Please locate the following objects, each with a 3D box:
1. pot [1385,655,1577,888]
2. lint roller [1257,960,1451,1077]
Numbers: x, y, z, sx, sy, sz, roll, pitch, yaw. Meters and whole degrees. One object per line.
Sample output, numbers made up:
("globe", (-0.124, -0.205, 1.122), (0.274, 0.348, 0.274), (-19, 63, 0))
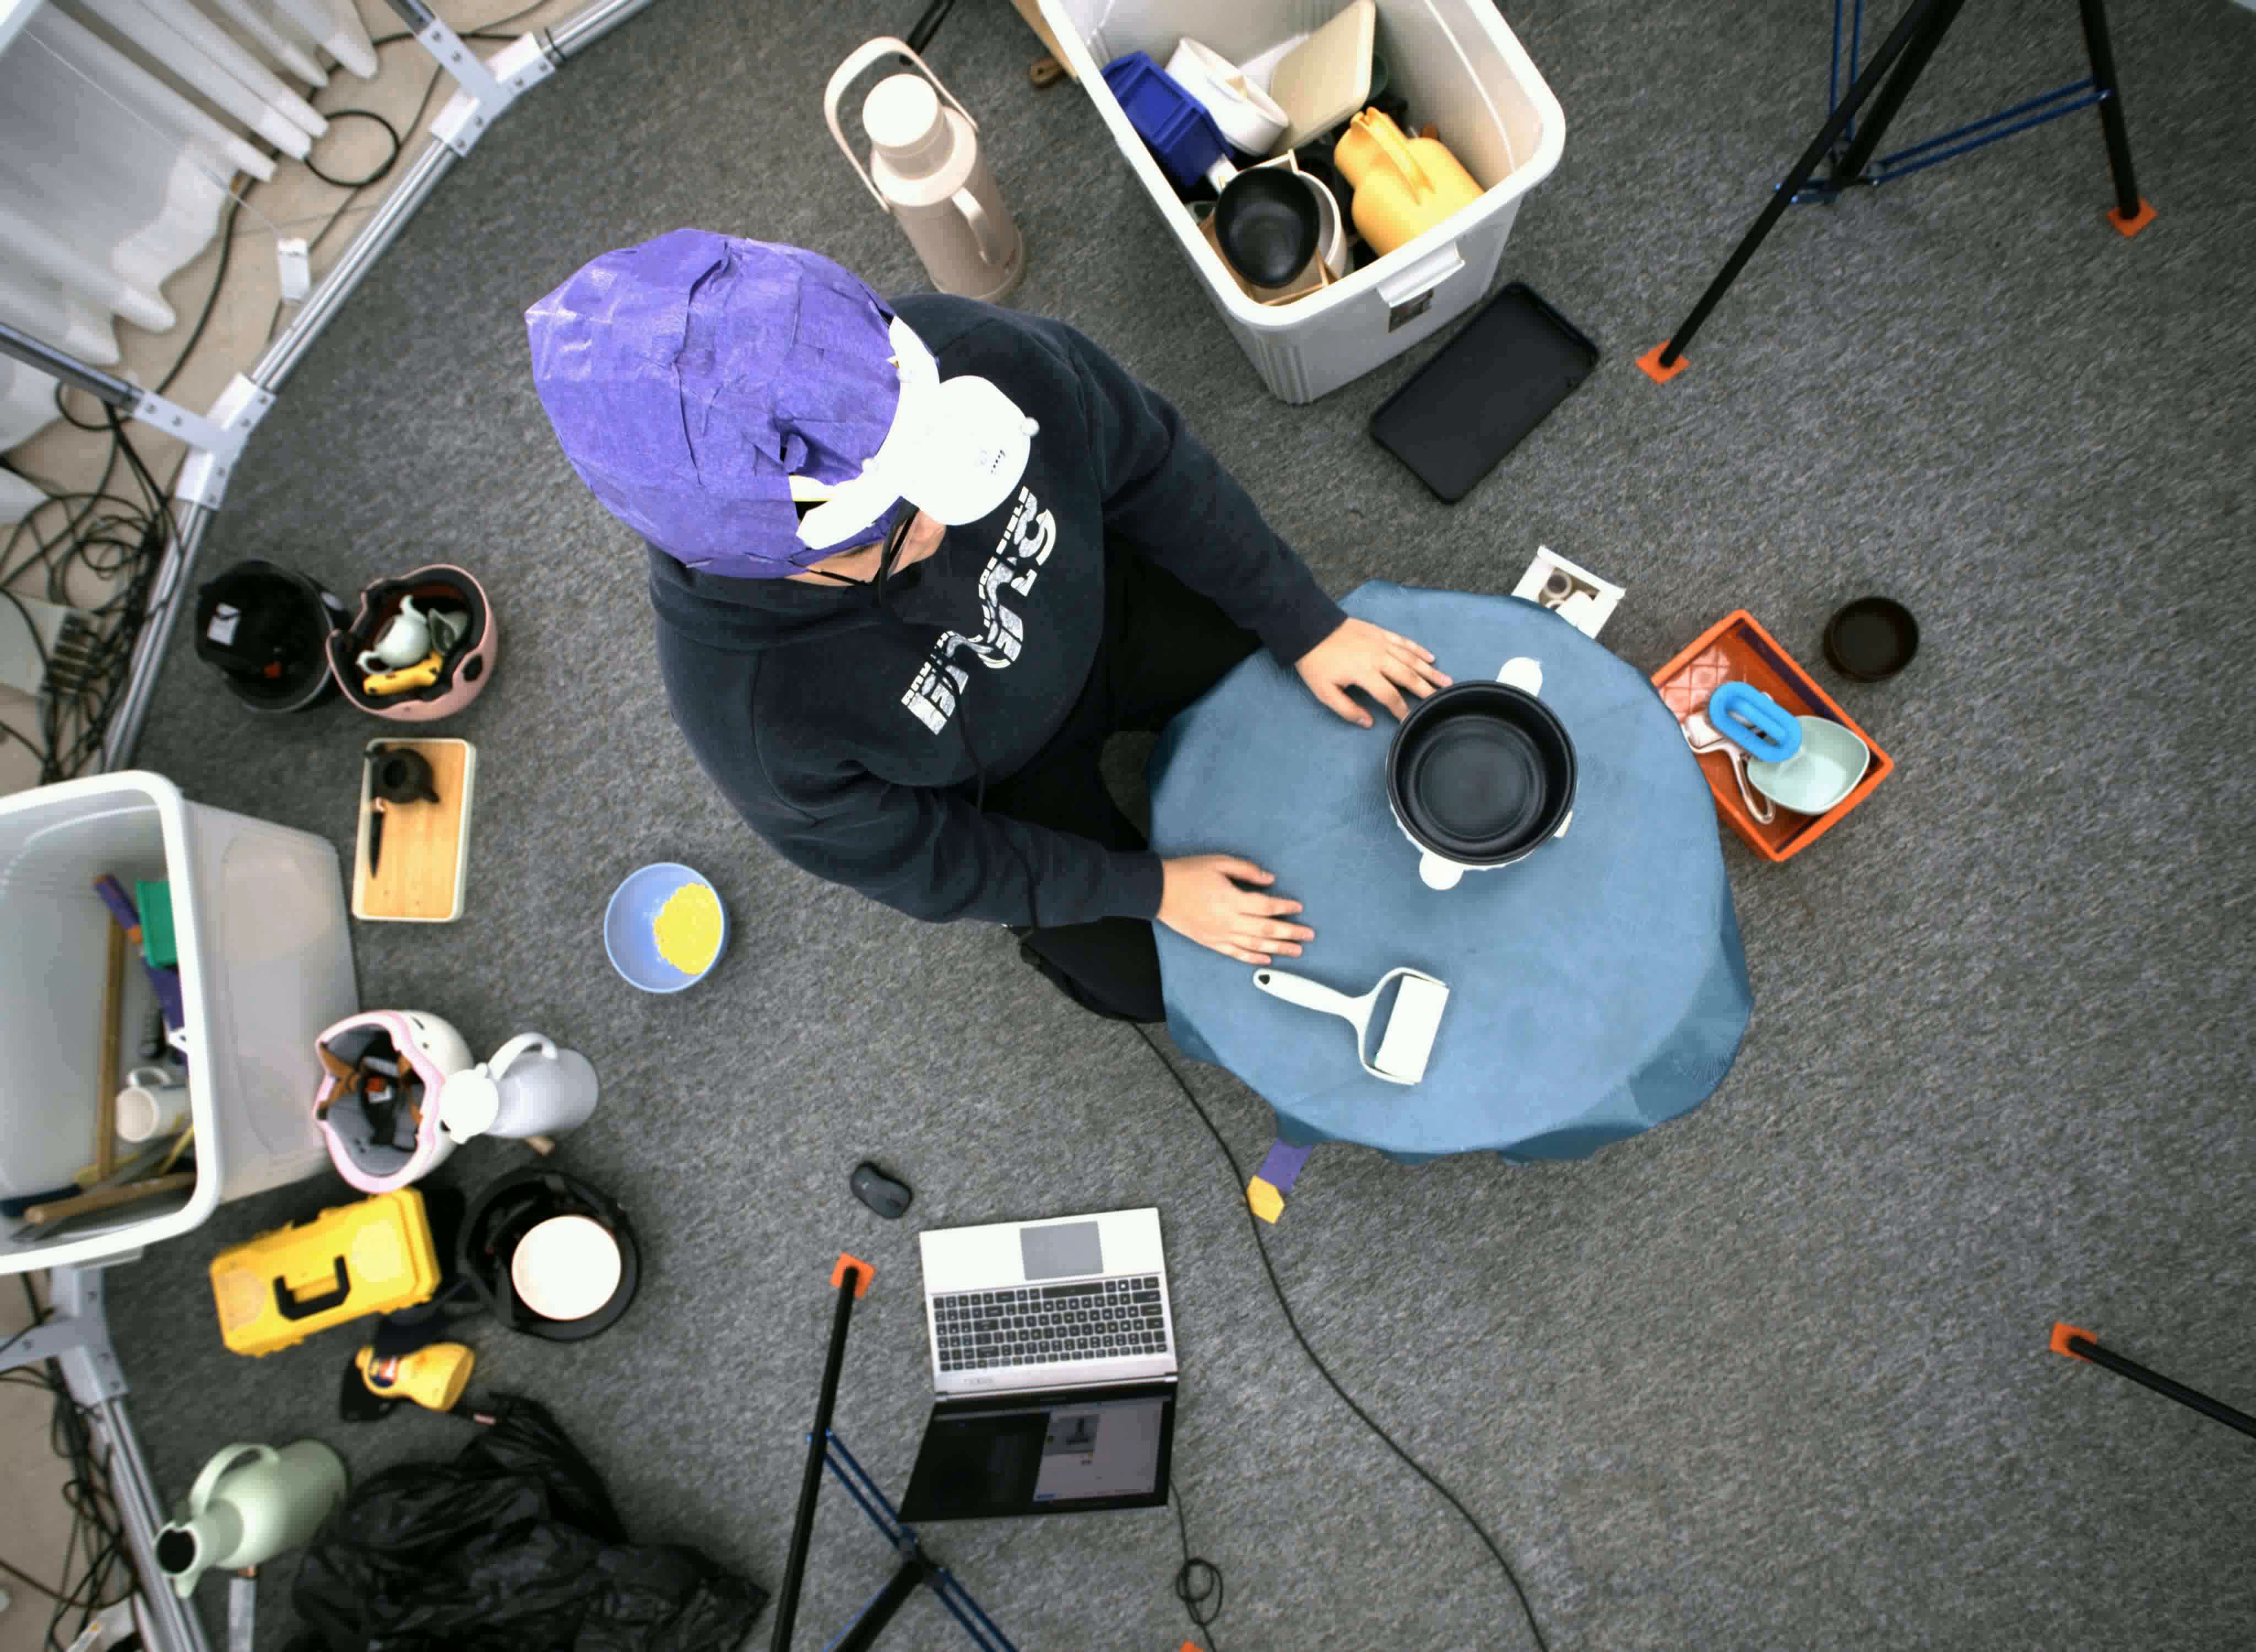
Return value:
("pot", (0.356, -0.047, 1.381), (0.190, 0.142, 0.240), (22, 92, 15))
("lint roller", (0.228, 0.178, 1.441), (0.197, 0.048, 0.117), (17, 92, 14))
